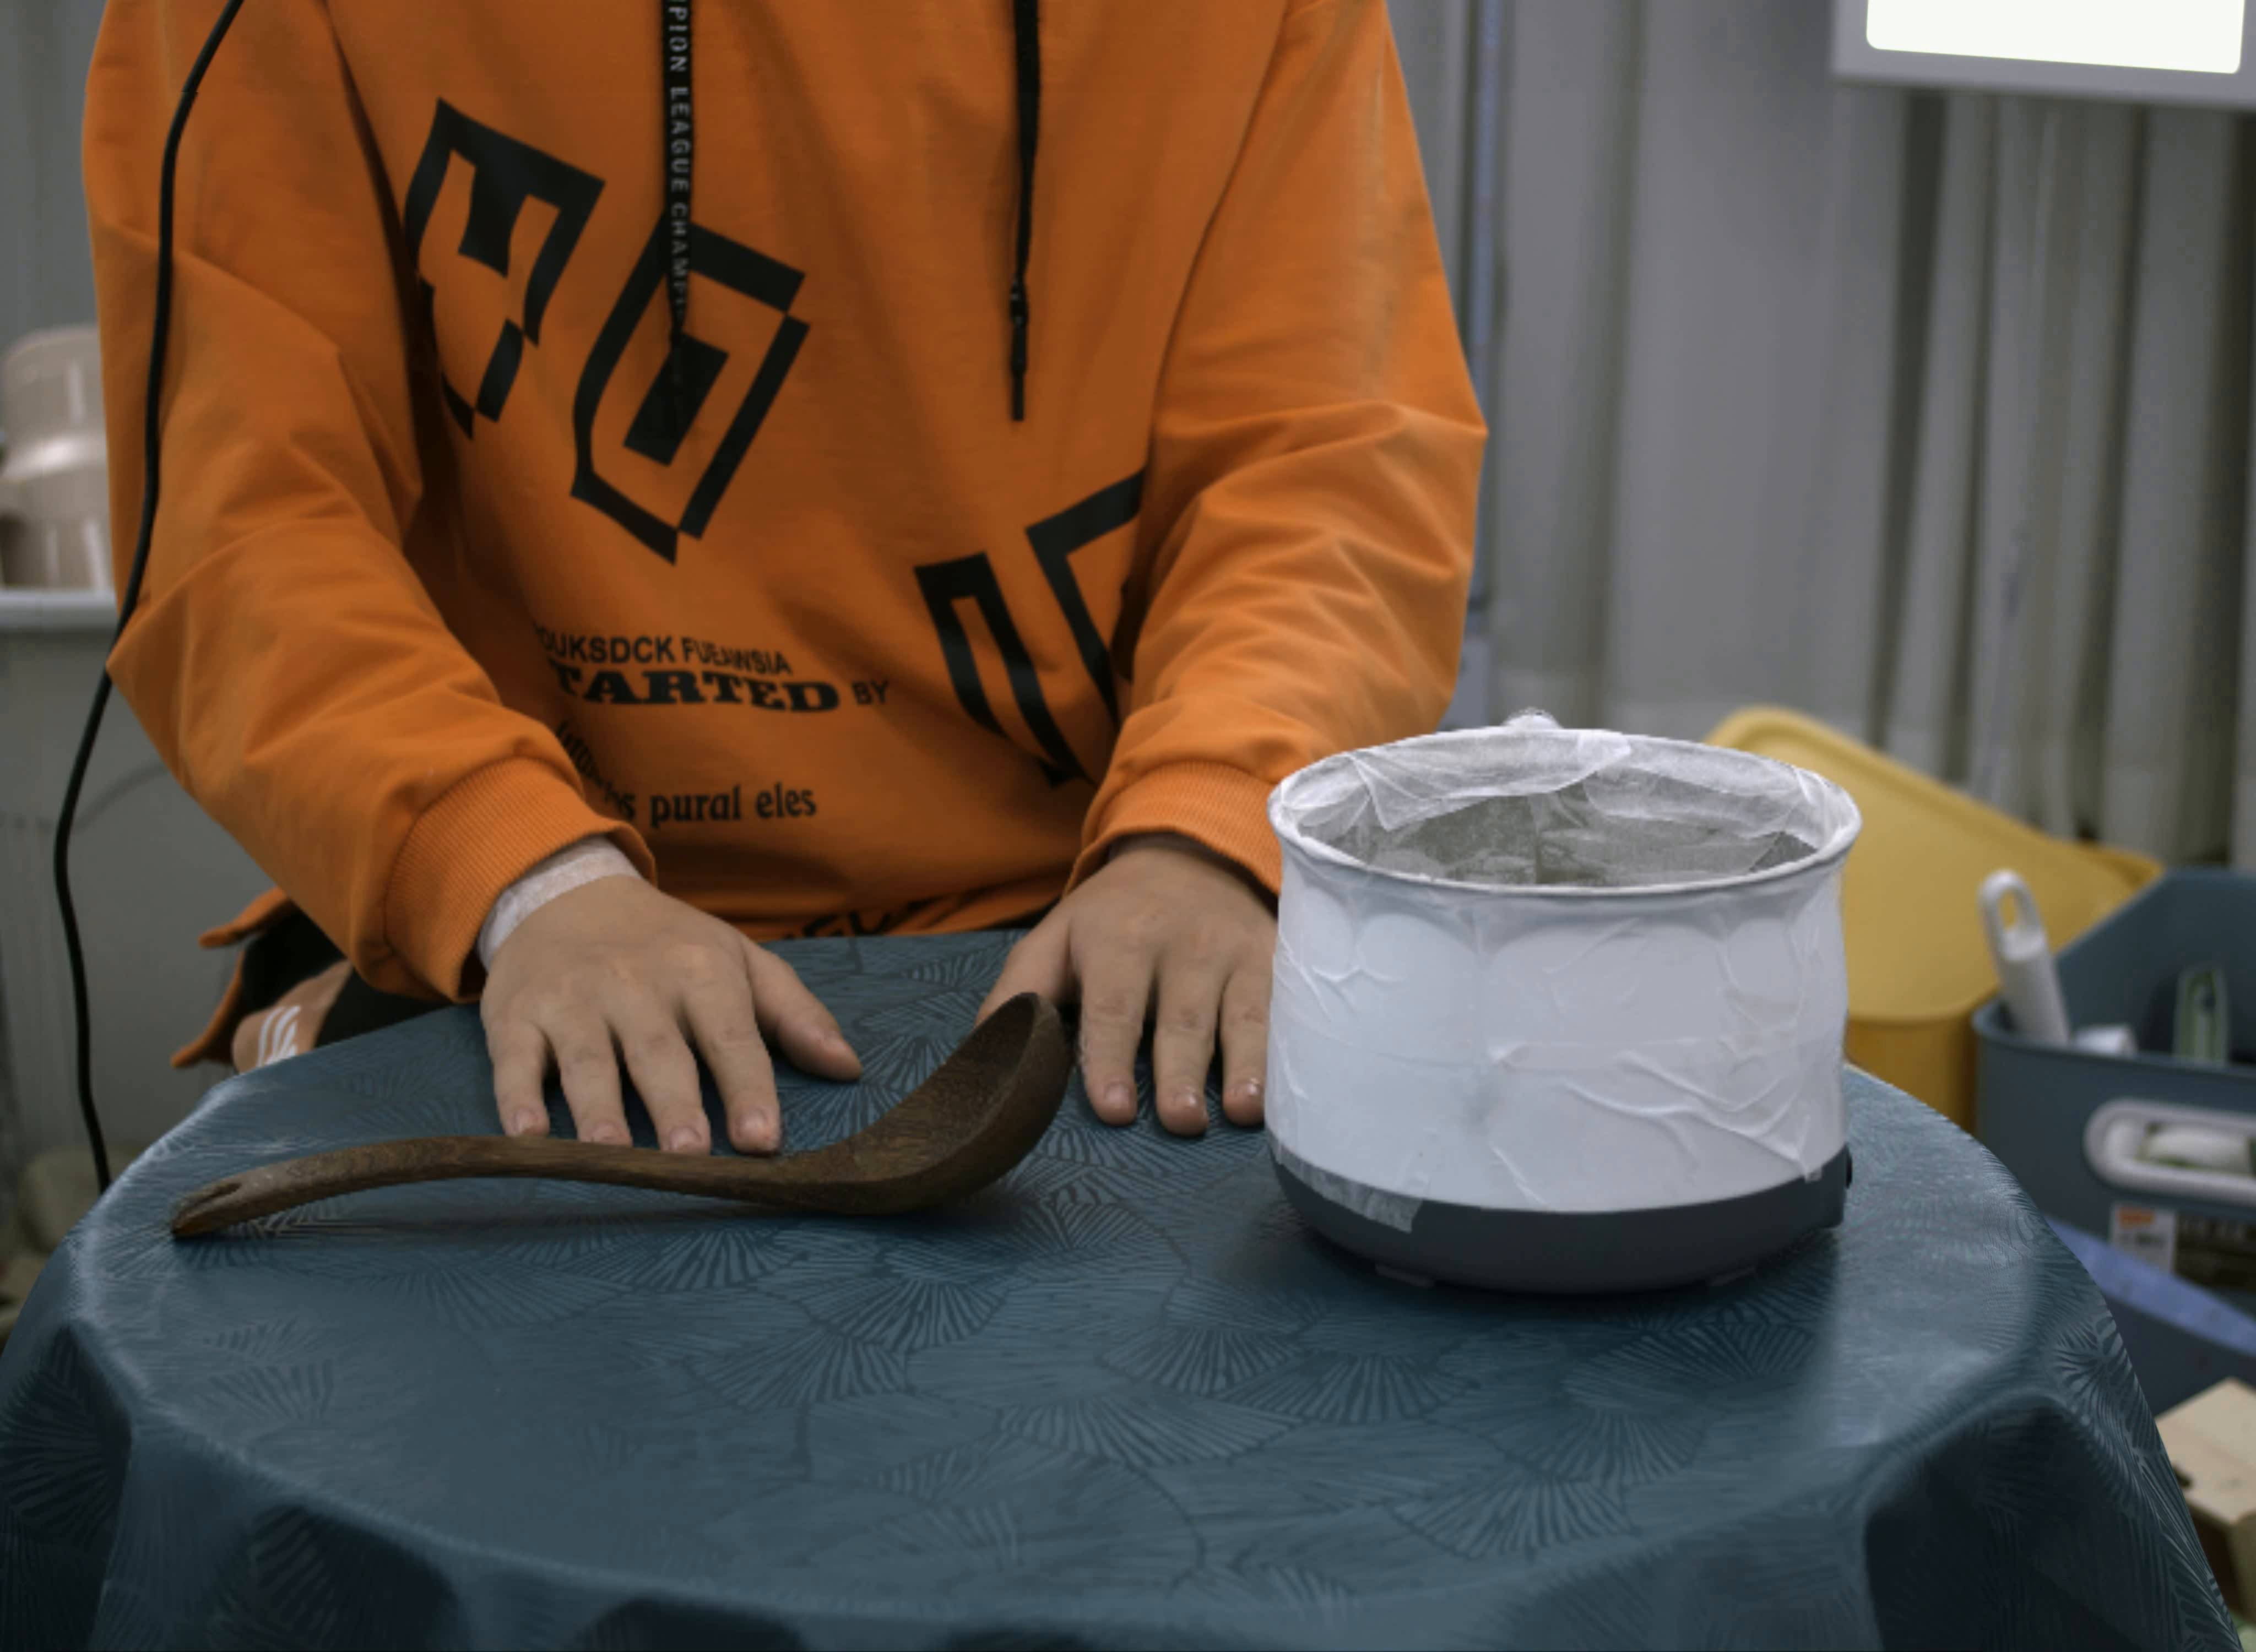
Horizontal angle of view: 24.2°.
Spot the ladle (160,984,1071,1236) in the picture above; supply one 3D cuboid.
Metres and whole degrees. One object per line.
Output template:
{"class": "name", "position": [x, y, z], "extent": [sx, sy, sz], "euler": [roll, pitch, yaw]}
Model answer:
{"class": "ladle", "position": [-0.154, 0.085, 1.586], "extent": [0.274, 0.072, 0.075], "euler": [-1, 14, -7]}

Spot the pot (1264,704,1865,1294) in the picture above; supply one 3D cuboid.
{"class": "pot", "position": [0.127, 0.047, 1.602], "extent": [0.178, 0.138, 0.232], "euler": [0, 16, -3]}
